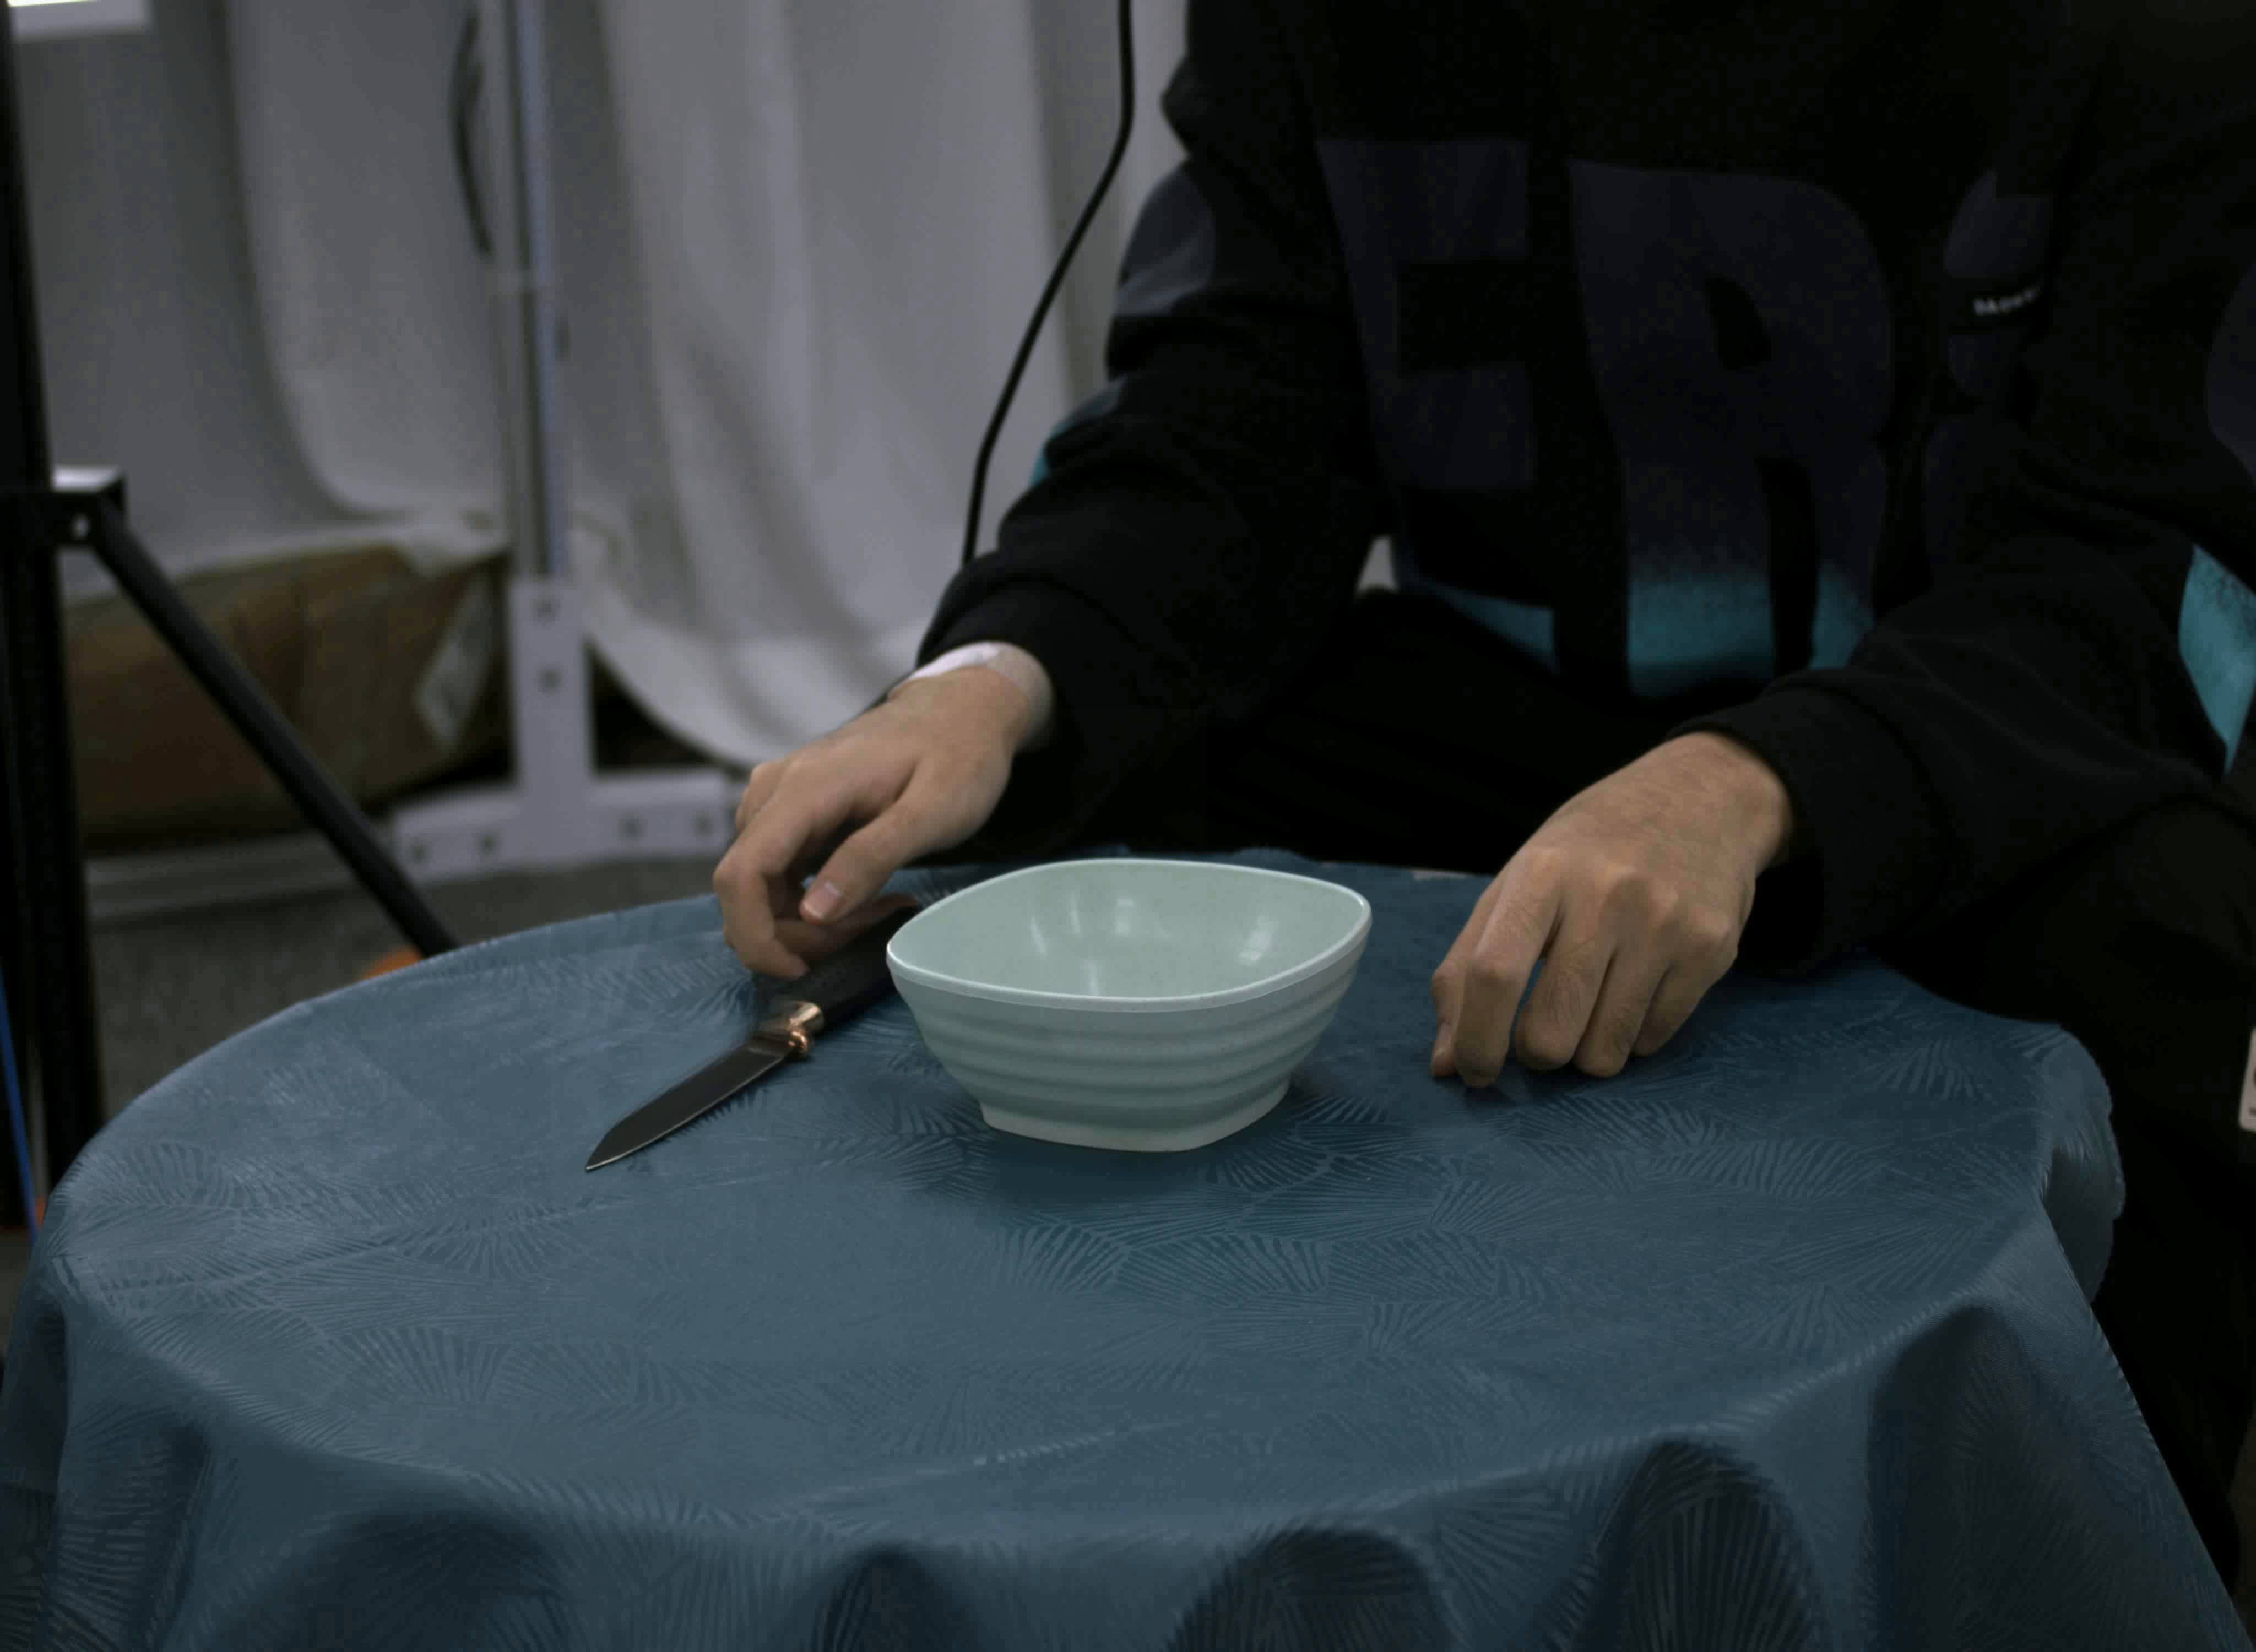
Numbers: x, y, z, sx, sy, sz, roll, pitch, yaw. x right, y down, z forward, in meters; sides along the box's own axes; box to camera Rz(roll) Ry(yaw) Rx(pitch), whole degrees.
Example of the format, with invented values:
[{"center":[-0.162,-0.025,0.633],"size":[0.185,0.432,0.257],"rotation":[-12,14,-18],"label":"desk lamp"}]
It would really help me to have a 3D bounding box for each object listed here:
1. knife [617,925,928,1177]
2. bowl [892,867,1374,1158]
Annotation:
[{"center":[-0.113,0.071,1.690],"size":[0.026,0.017,0.222],"rotation":[12,21,20],"label":"knife"},{"center":[0.004,0.060,1.626],"size":[0.151,0.058,0.152],"rotation":[-4,15,0],"label":"bowl"}]
